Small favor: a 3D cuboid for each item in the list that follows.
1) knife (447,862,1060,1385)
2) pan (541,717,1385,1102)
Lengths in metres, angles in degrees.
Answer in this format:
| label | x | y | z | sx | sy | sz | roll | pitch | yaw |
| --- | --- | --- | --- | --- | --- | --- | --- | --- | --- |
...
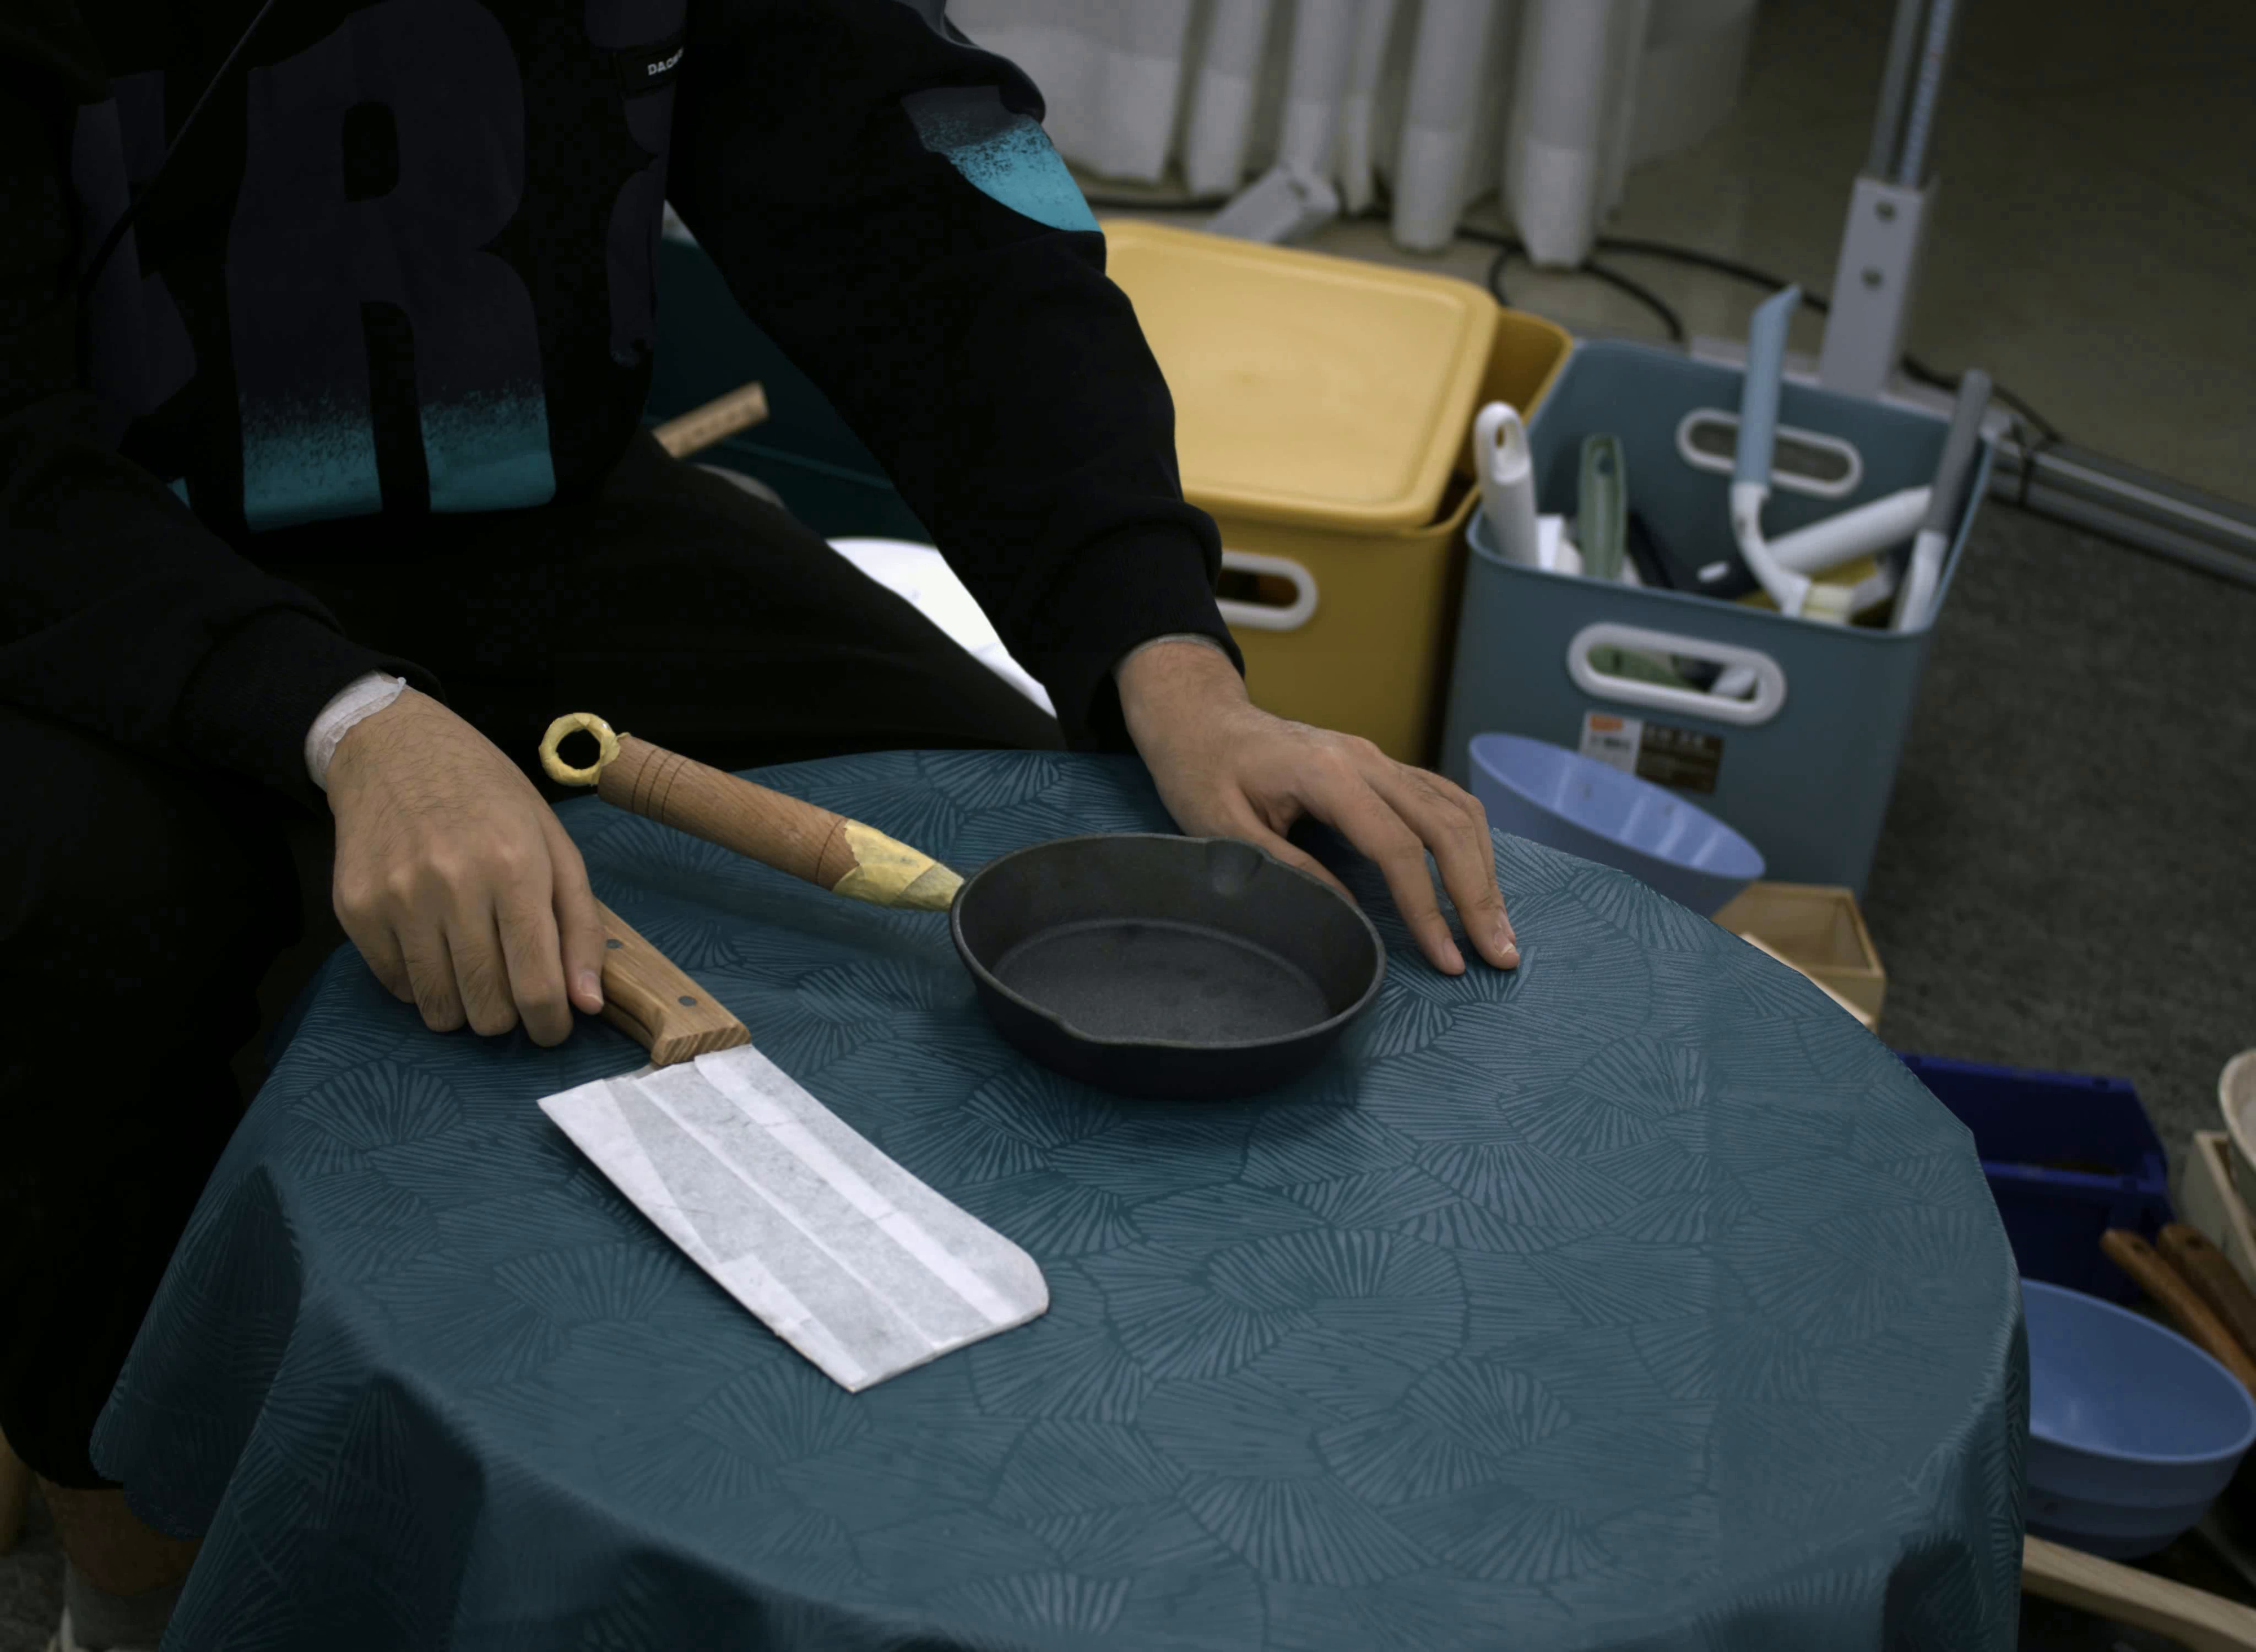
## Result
| label | x | y | z | sx | sy | sz | roll | pitch | yaw |
| --- | --- | --- | --- | --- | --- | --- | --- | --- | --- |
| knife | -0.140 | 0.096 | 1.806 | 0.113 | 0.021 | 0.318 | -13 | 35 | -33 |
| pan | -0.065 | 0.025 | 1.927 | 0.325 | 0.049 | 0.169 | 16 | 29 | 16 |
